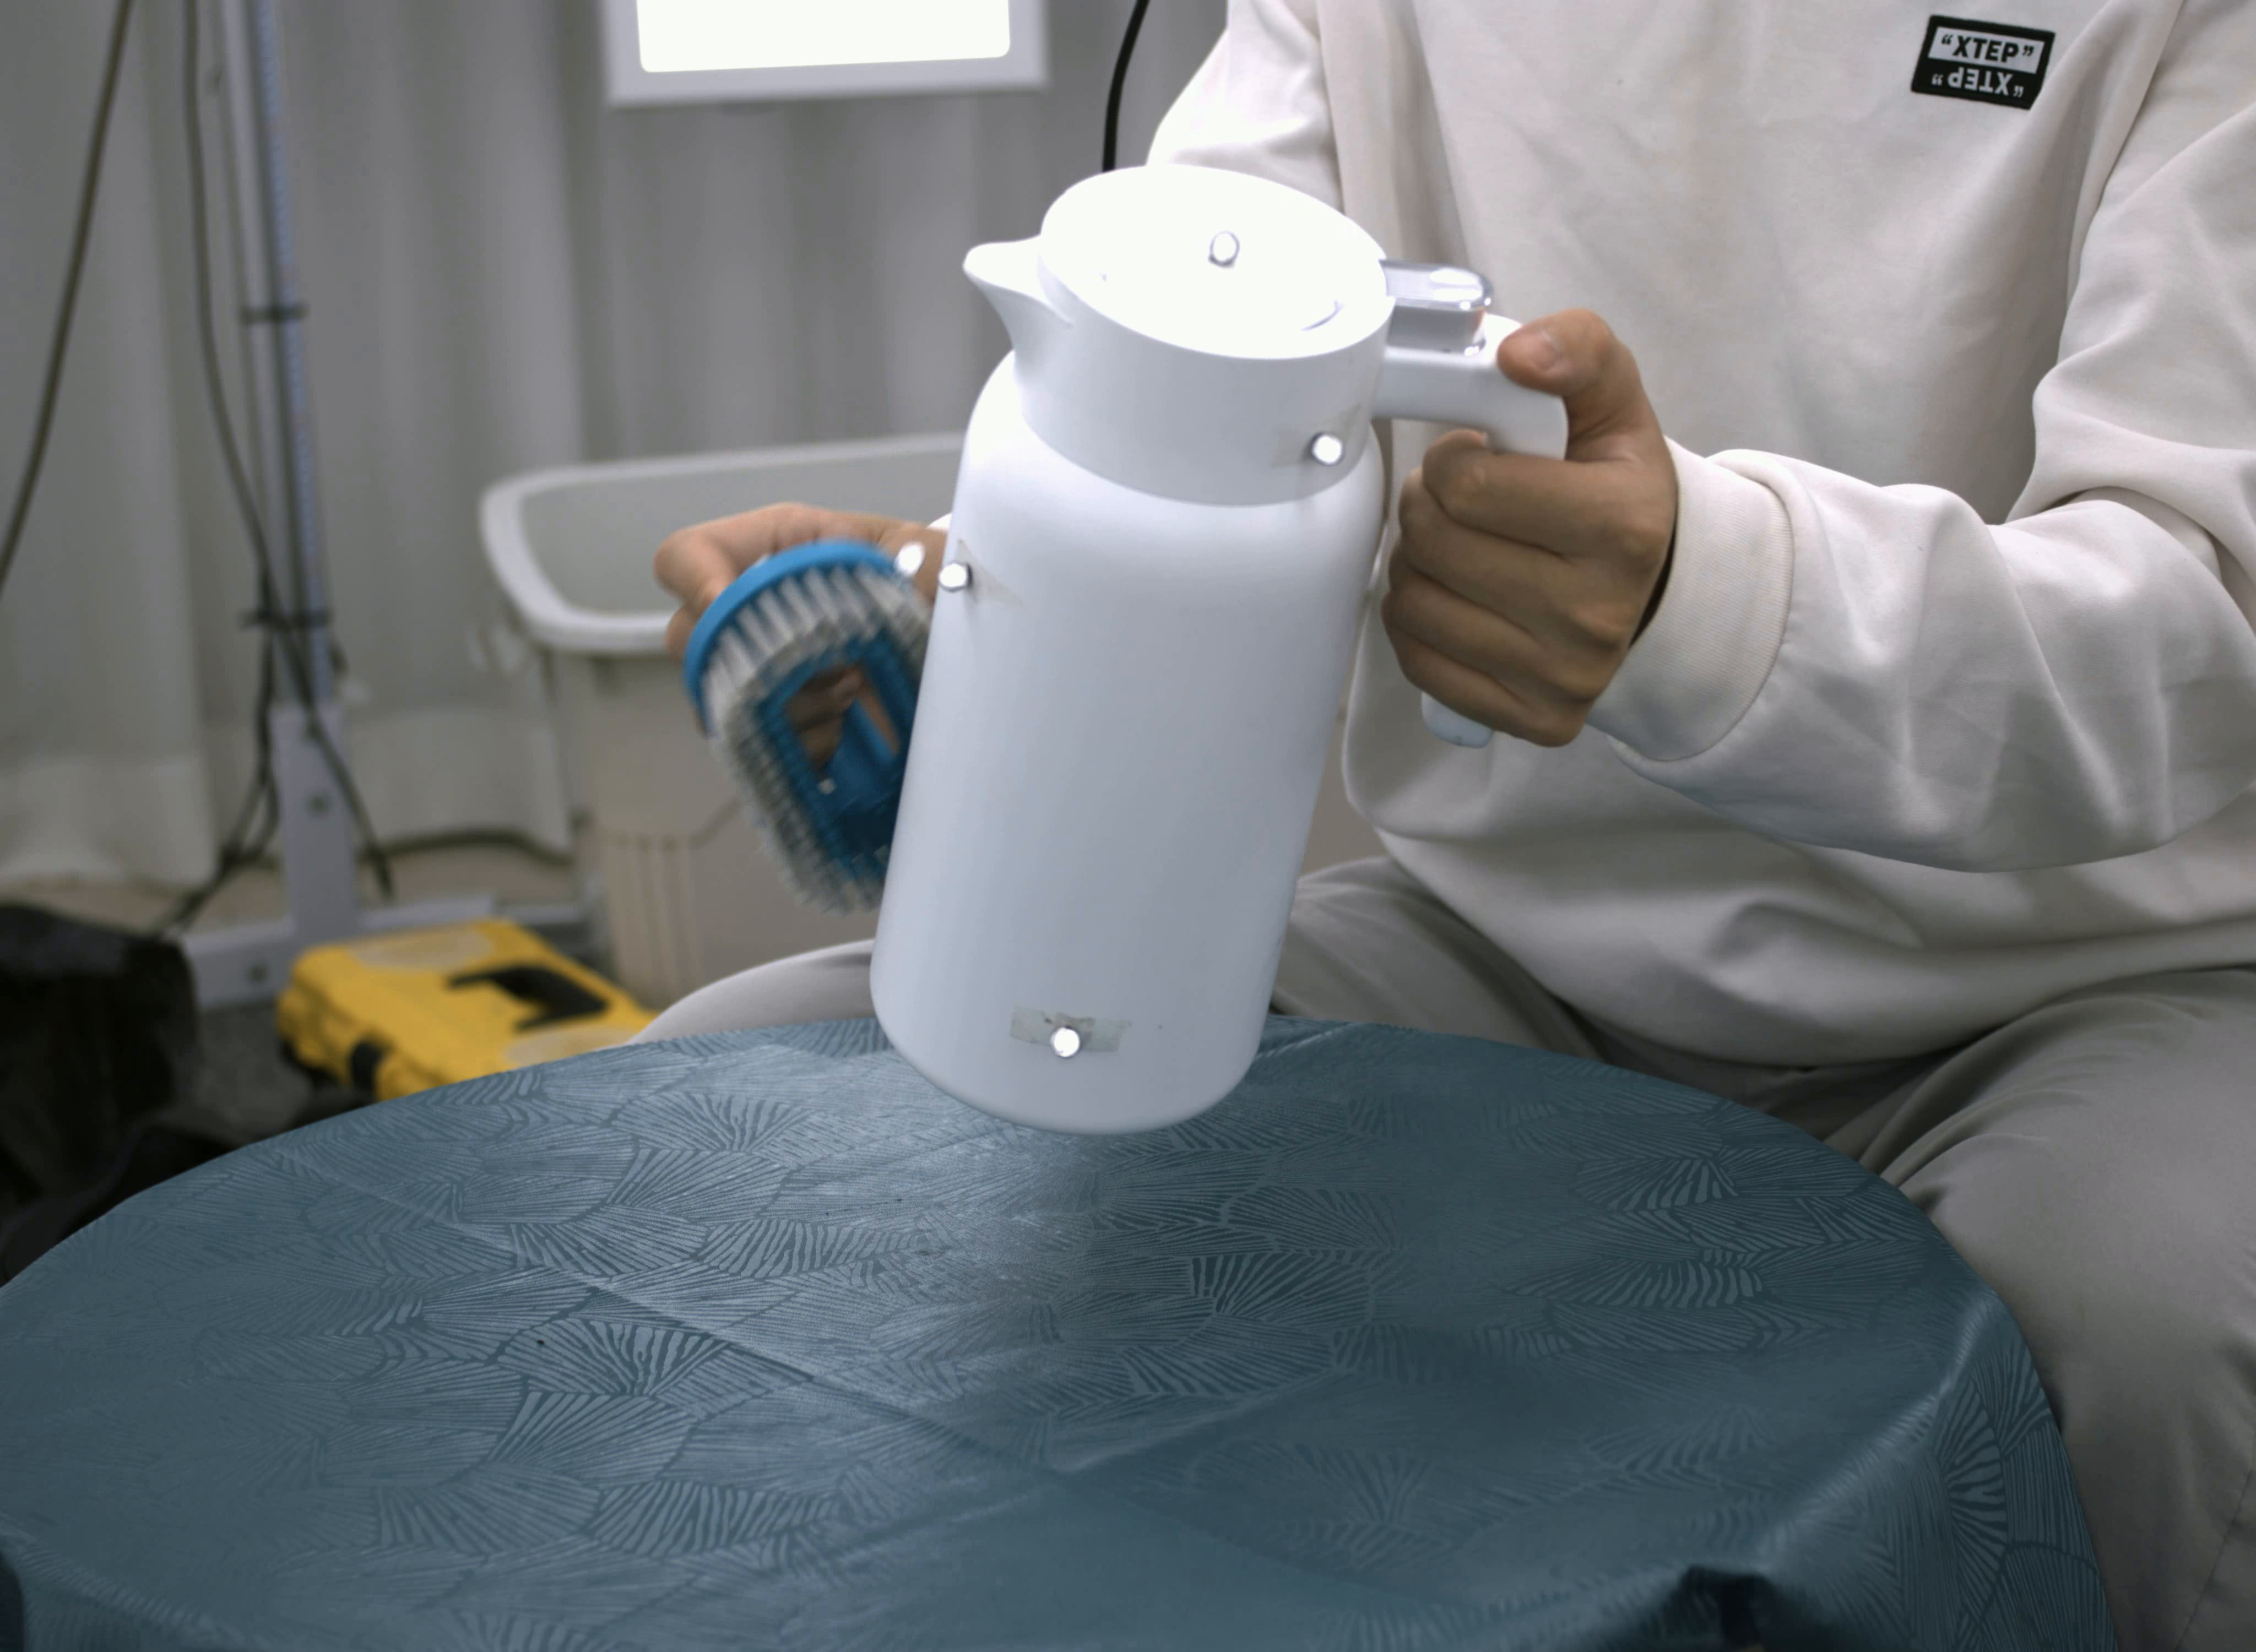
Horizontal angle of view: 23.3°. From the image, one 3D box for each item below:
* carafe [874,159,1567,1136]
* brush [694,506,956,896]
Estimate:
[{"bbox_3d":[0.020,-0.047,1.546,0.172,0.266,0.125,5,33,-10],"label":"carafe"},{"bbox_3d":[-0.084,-0.043,1.624,0.084,0.140,0.064,-36,53,-6],"label":"brush"}]
